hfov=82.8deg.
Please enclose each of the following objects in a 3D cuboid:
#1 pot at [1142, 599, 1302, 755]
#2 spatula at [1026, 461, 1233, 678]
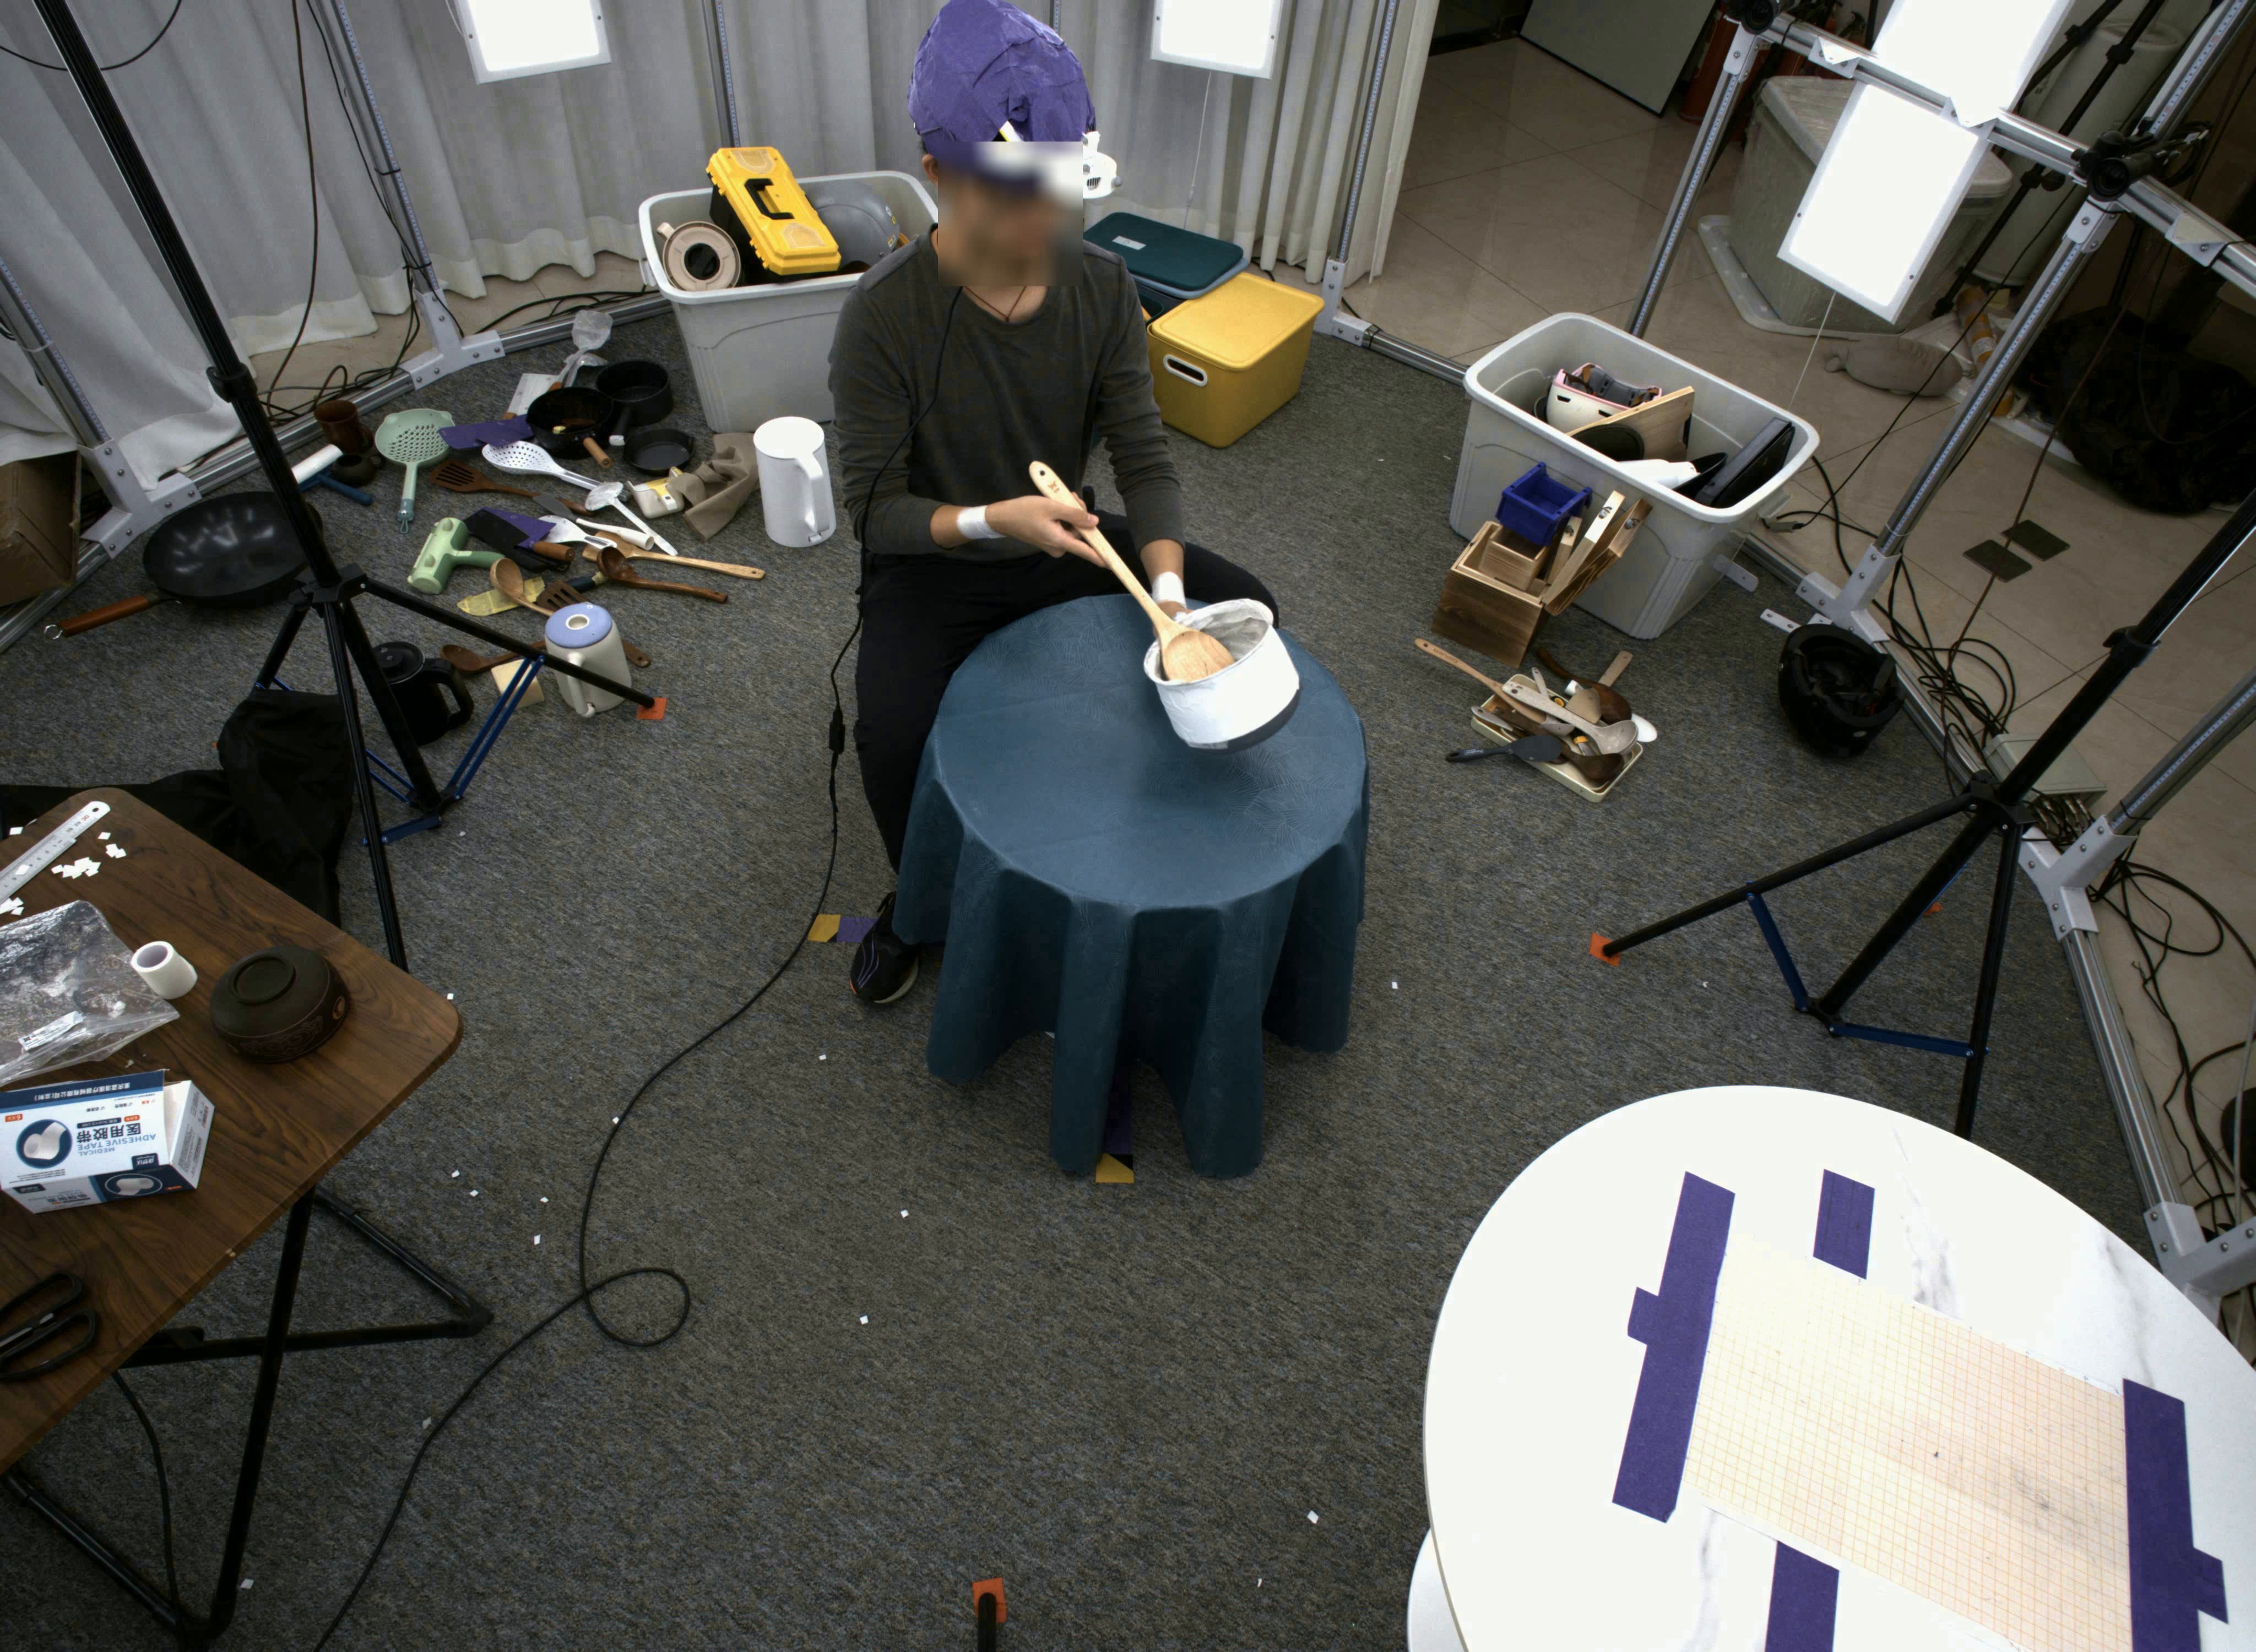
[{"bbox_3d":[0.115,-0.202,1.678,0.179,0.133,0.238,-31,33,-5],"label":"pot"},{"bbox_3d":[-0.007,-0.322,1.678,0.096,0.018,0.391,-39,89,-24],"label":"spatula"}]
